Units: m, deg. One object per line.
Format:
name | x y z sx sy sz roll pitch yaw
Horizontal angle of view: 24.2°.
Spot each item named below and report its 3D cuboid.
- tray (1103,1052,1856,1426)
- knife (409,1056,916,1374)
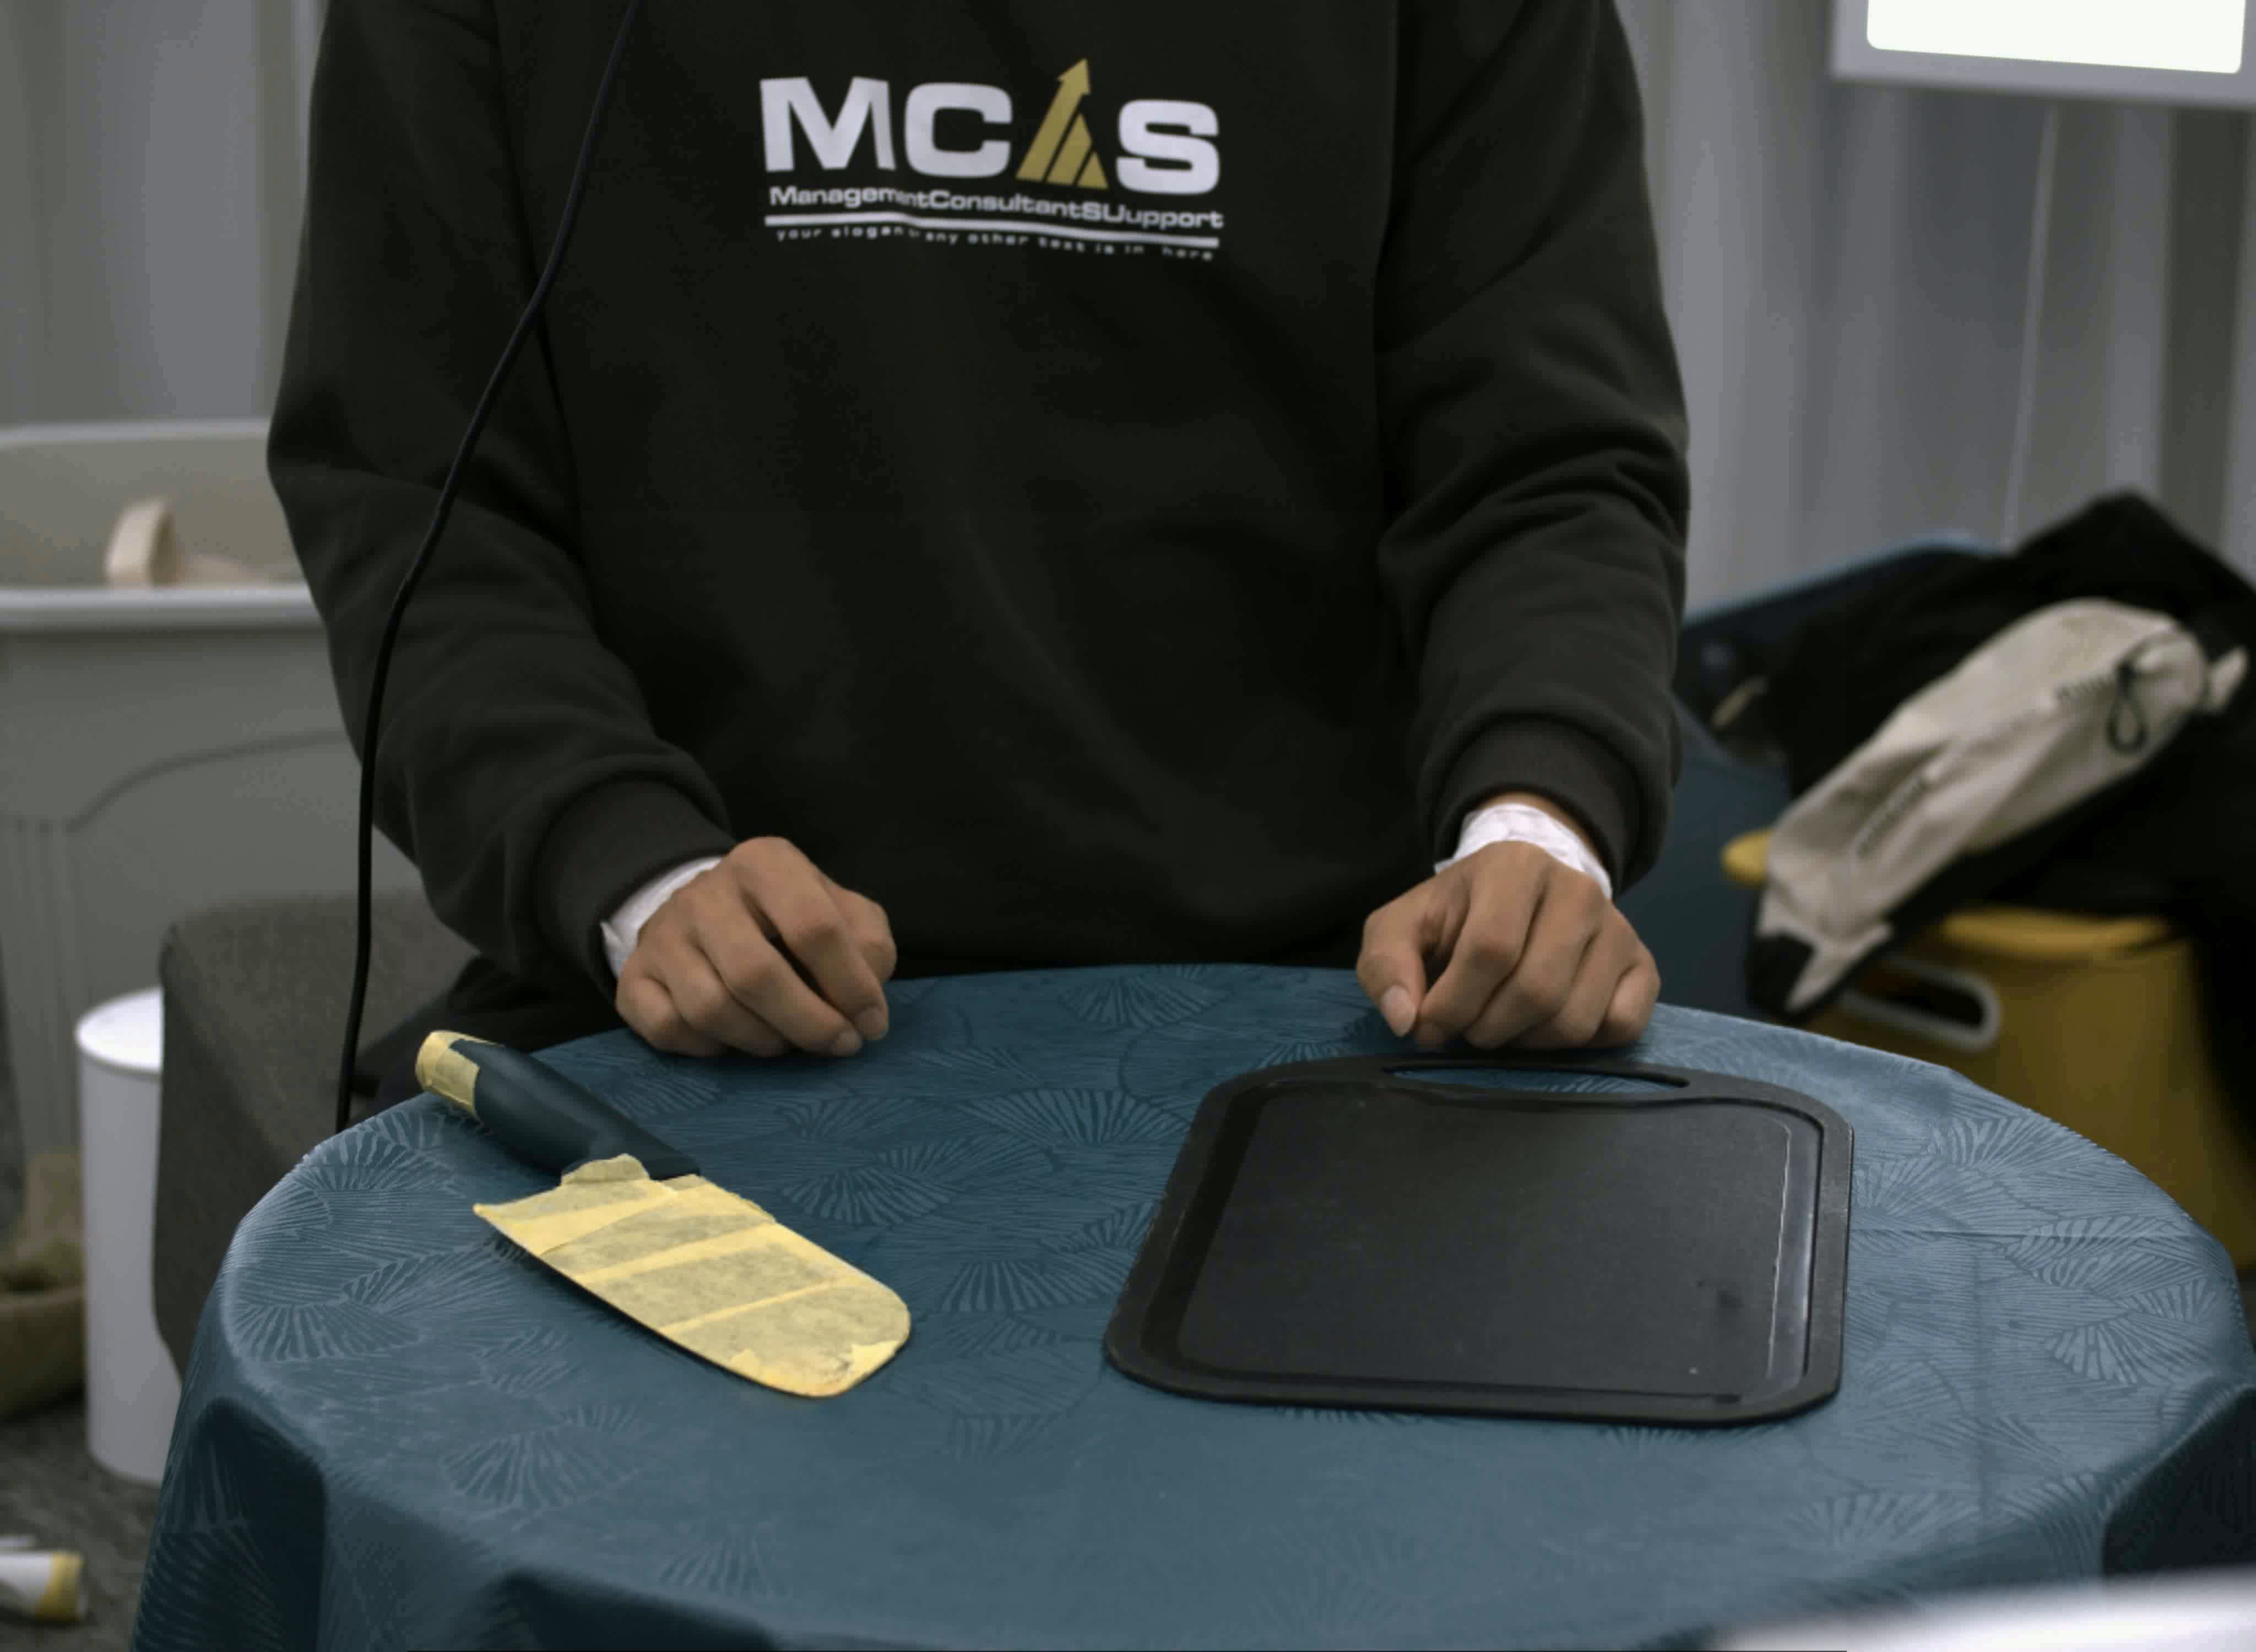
tray | 0.113 0.117 1.599 0.210 0.010 0.324 3 15 8
knife | -0.153 0.117 1.575 0.081 0.027 0.285 -8 18 -33
